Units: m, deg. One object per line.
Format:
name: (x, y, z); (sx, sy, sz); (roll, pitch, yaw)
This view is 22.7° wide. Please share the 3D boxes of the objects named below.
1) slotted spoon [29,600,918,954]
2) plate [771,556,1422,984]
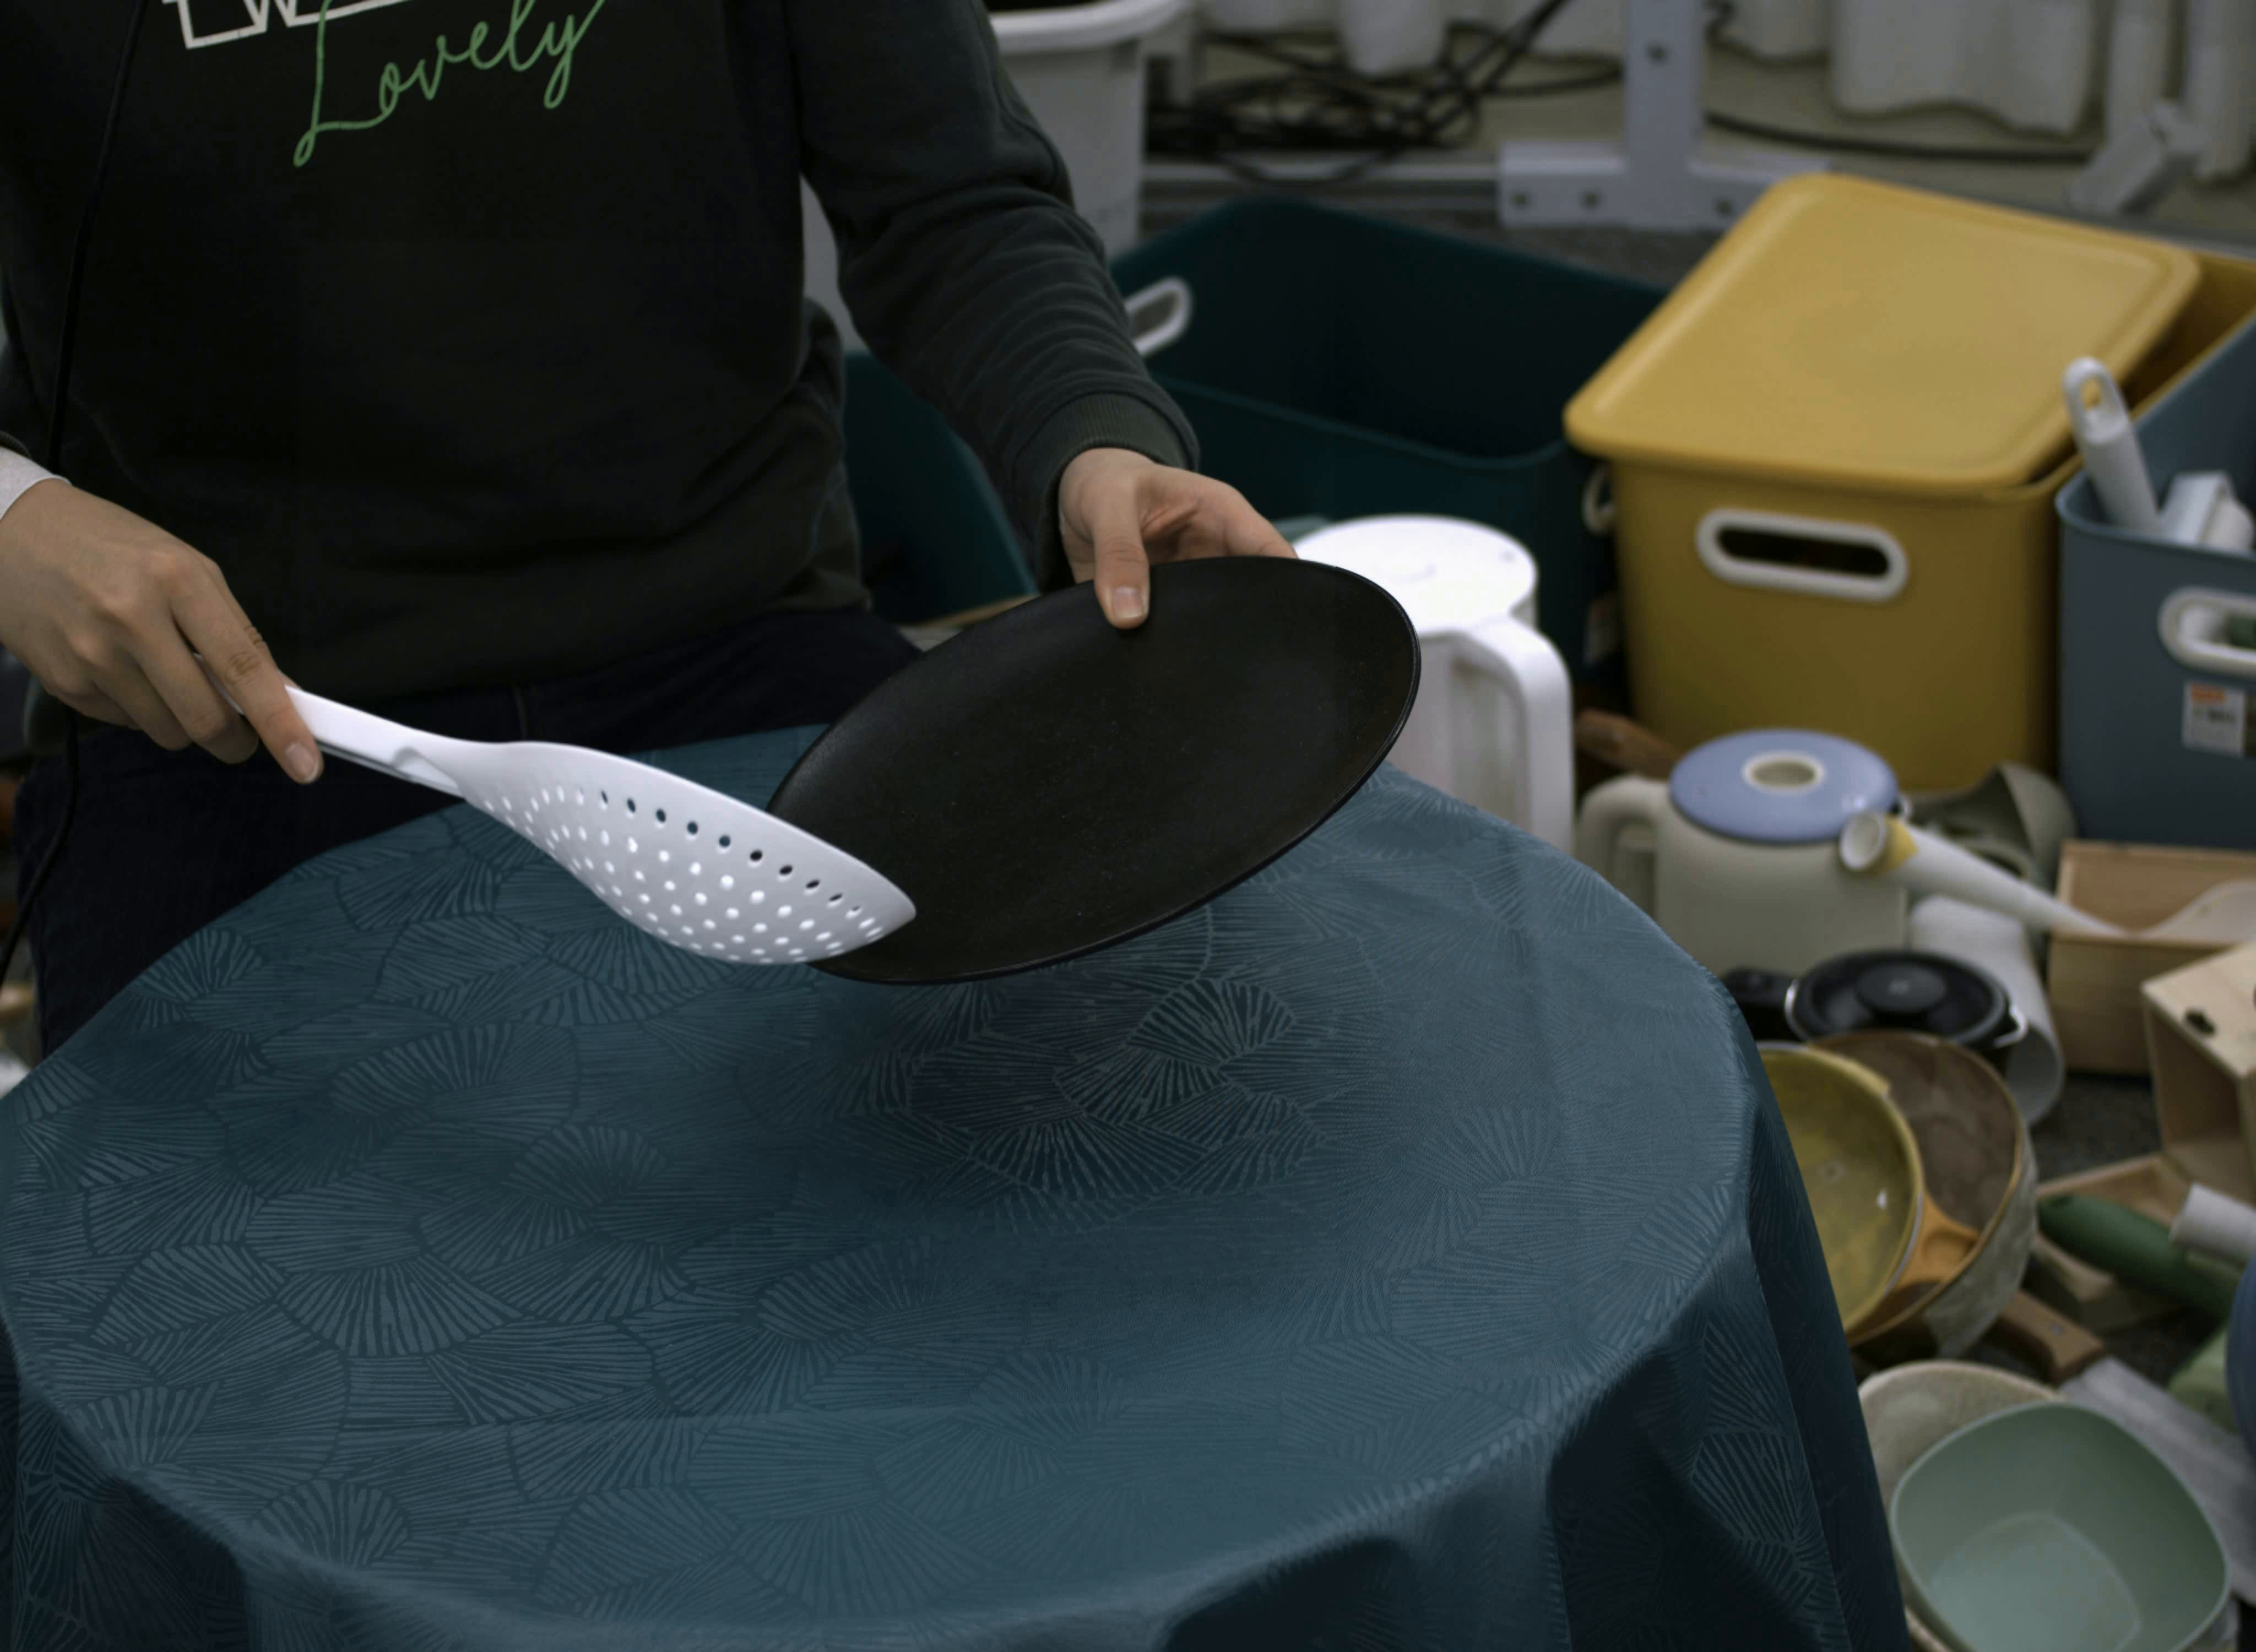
slotted spoon: (-0.225, -0.023, 1.869); (0.349, 0.135, 0.046); (22, 78, 27)
plate: (-0.012, -0.015, 1.905); (0.242, 0.023, 0.248); (-17, 29, 10)
